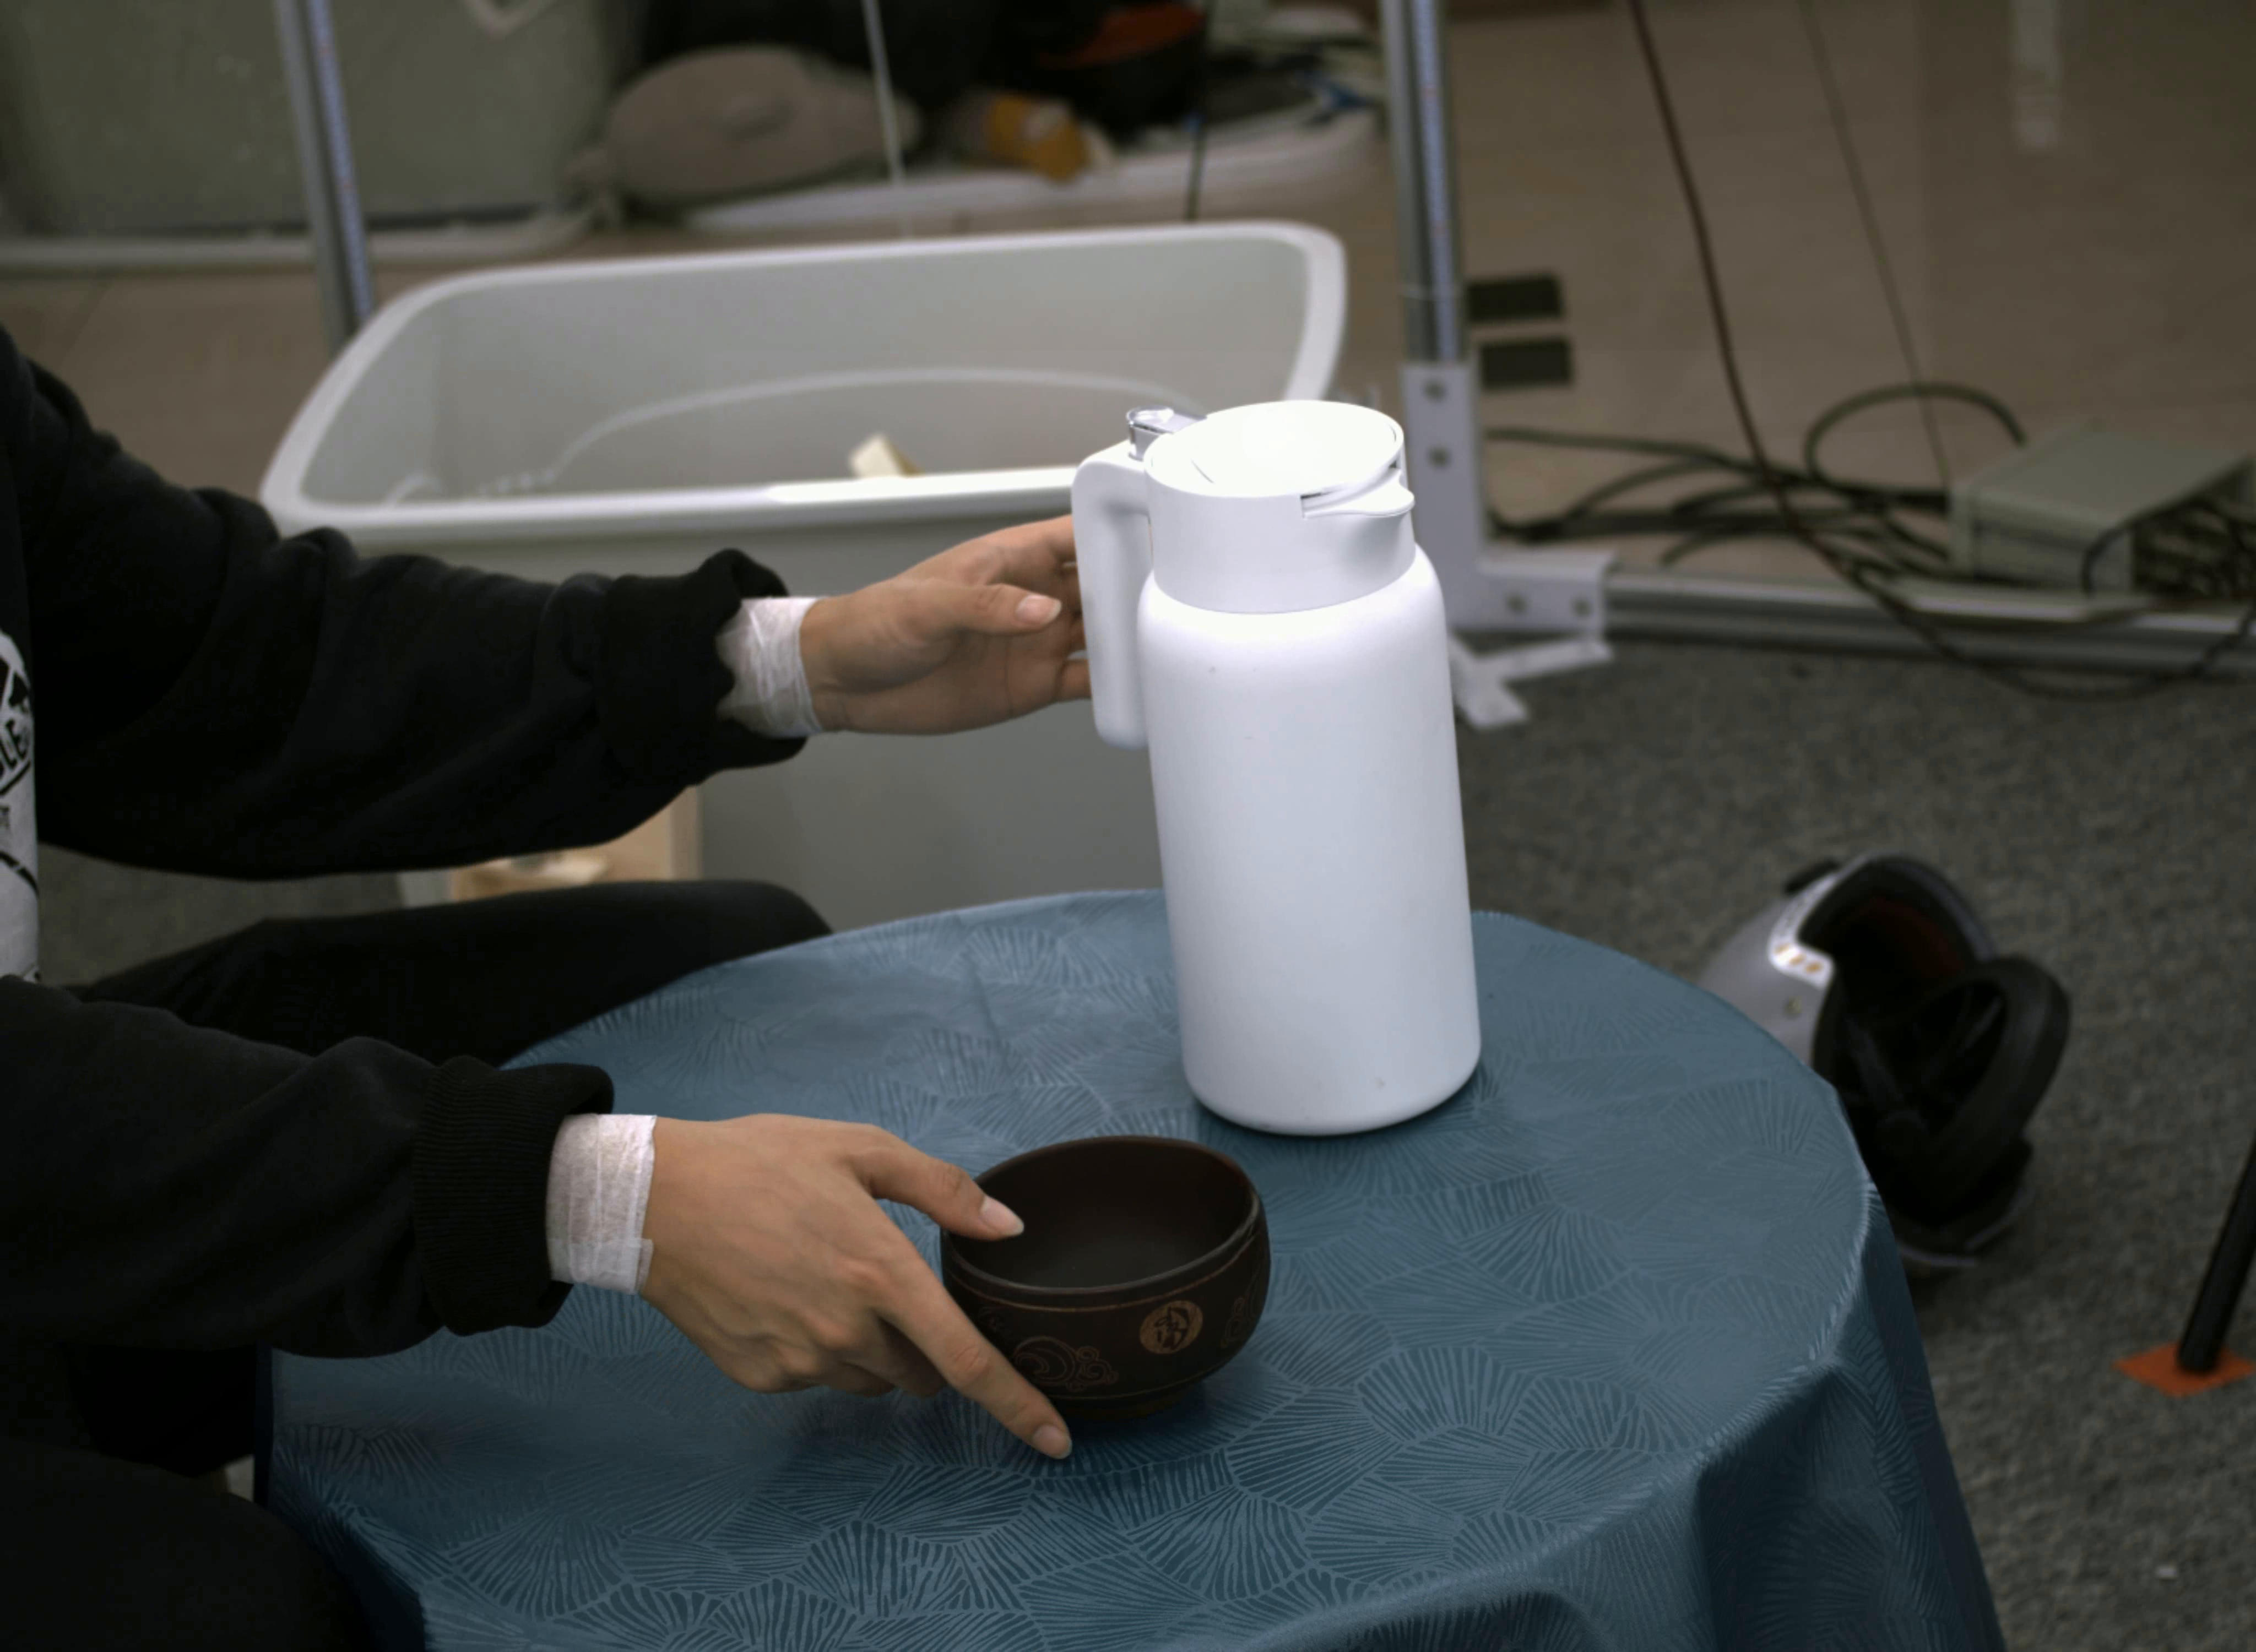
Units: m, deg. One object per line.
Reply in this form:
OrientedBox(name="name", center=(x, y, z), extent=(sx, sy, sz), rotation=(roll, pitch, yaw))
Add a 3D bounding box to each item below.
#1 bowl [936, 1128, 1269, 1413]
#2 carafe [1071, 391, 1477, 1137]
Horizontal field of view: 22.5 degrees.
OrientedBox(name="bowl", center=(-0.007, 0.164, 2.009), extent=(0.118, 0.071, 0.116), rotation=(-6, 25, 3))
OrientedBox(name="carafe", center=(0.054, -0.026, 2.169), extent=(0.171, 0.273, 0.123), rotation=(19, 38, 42))
